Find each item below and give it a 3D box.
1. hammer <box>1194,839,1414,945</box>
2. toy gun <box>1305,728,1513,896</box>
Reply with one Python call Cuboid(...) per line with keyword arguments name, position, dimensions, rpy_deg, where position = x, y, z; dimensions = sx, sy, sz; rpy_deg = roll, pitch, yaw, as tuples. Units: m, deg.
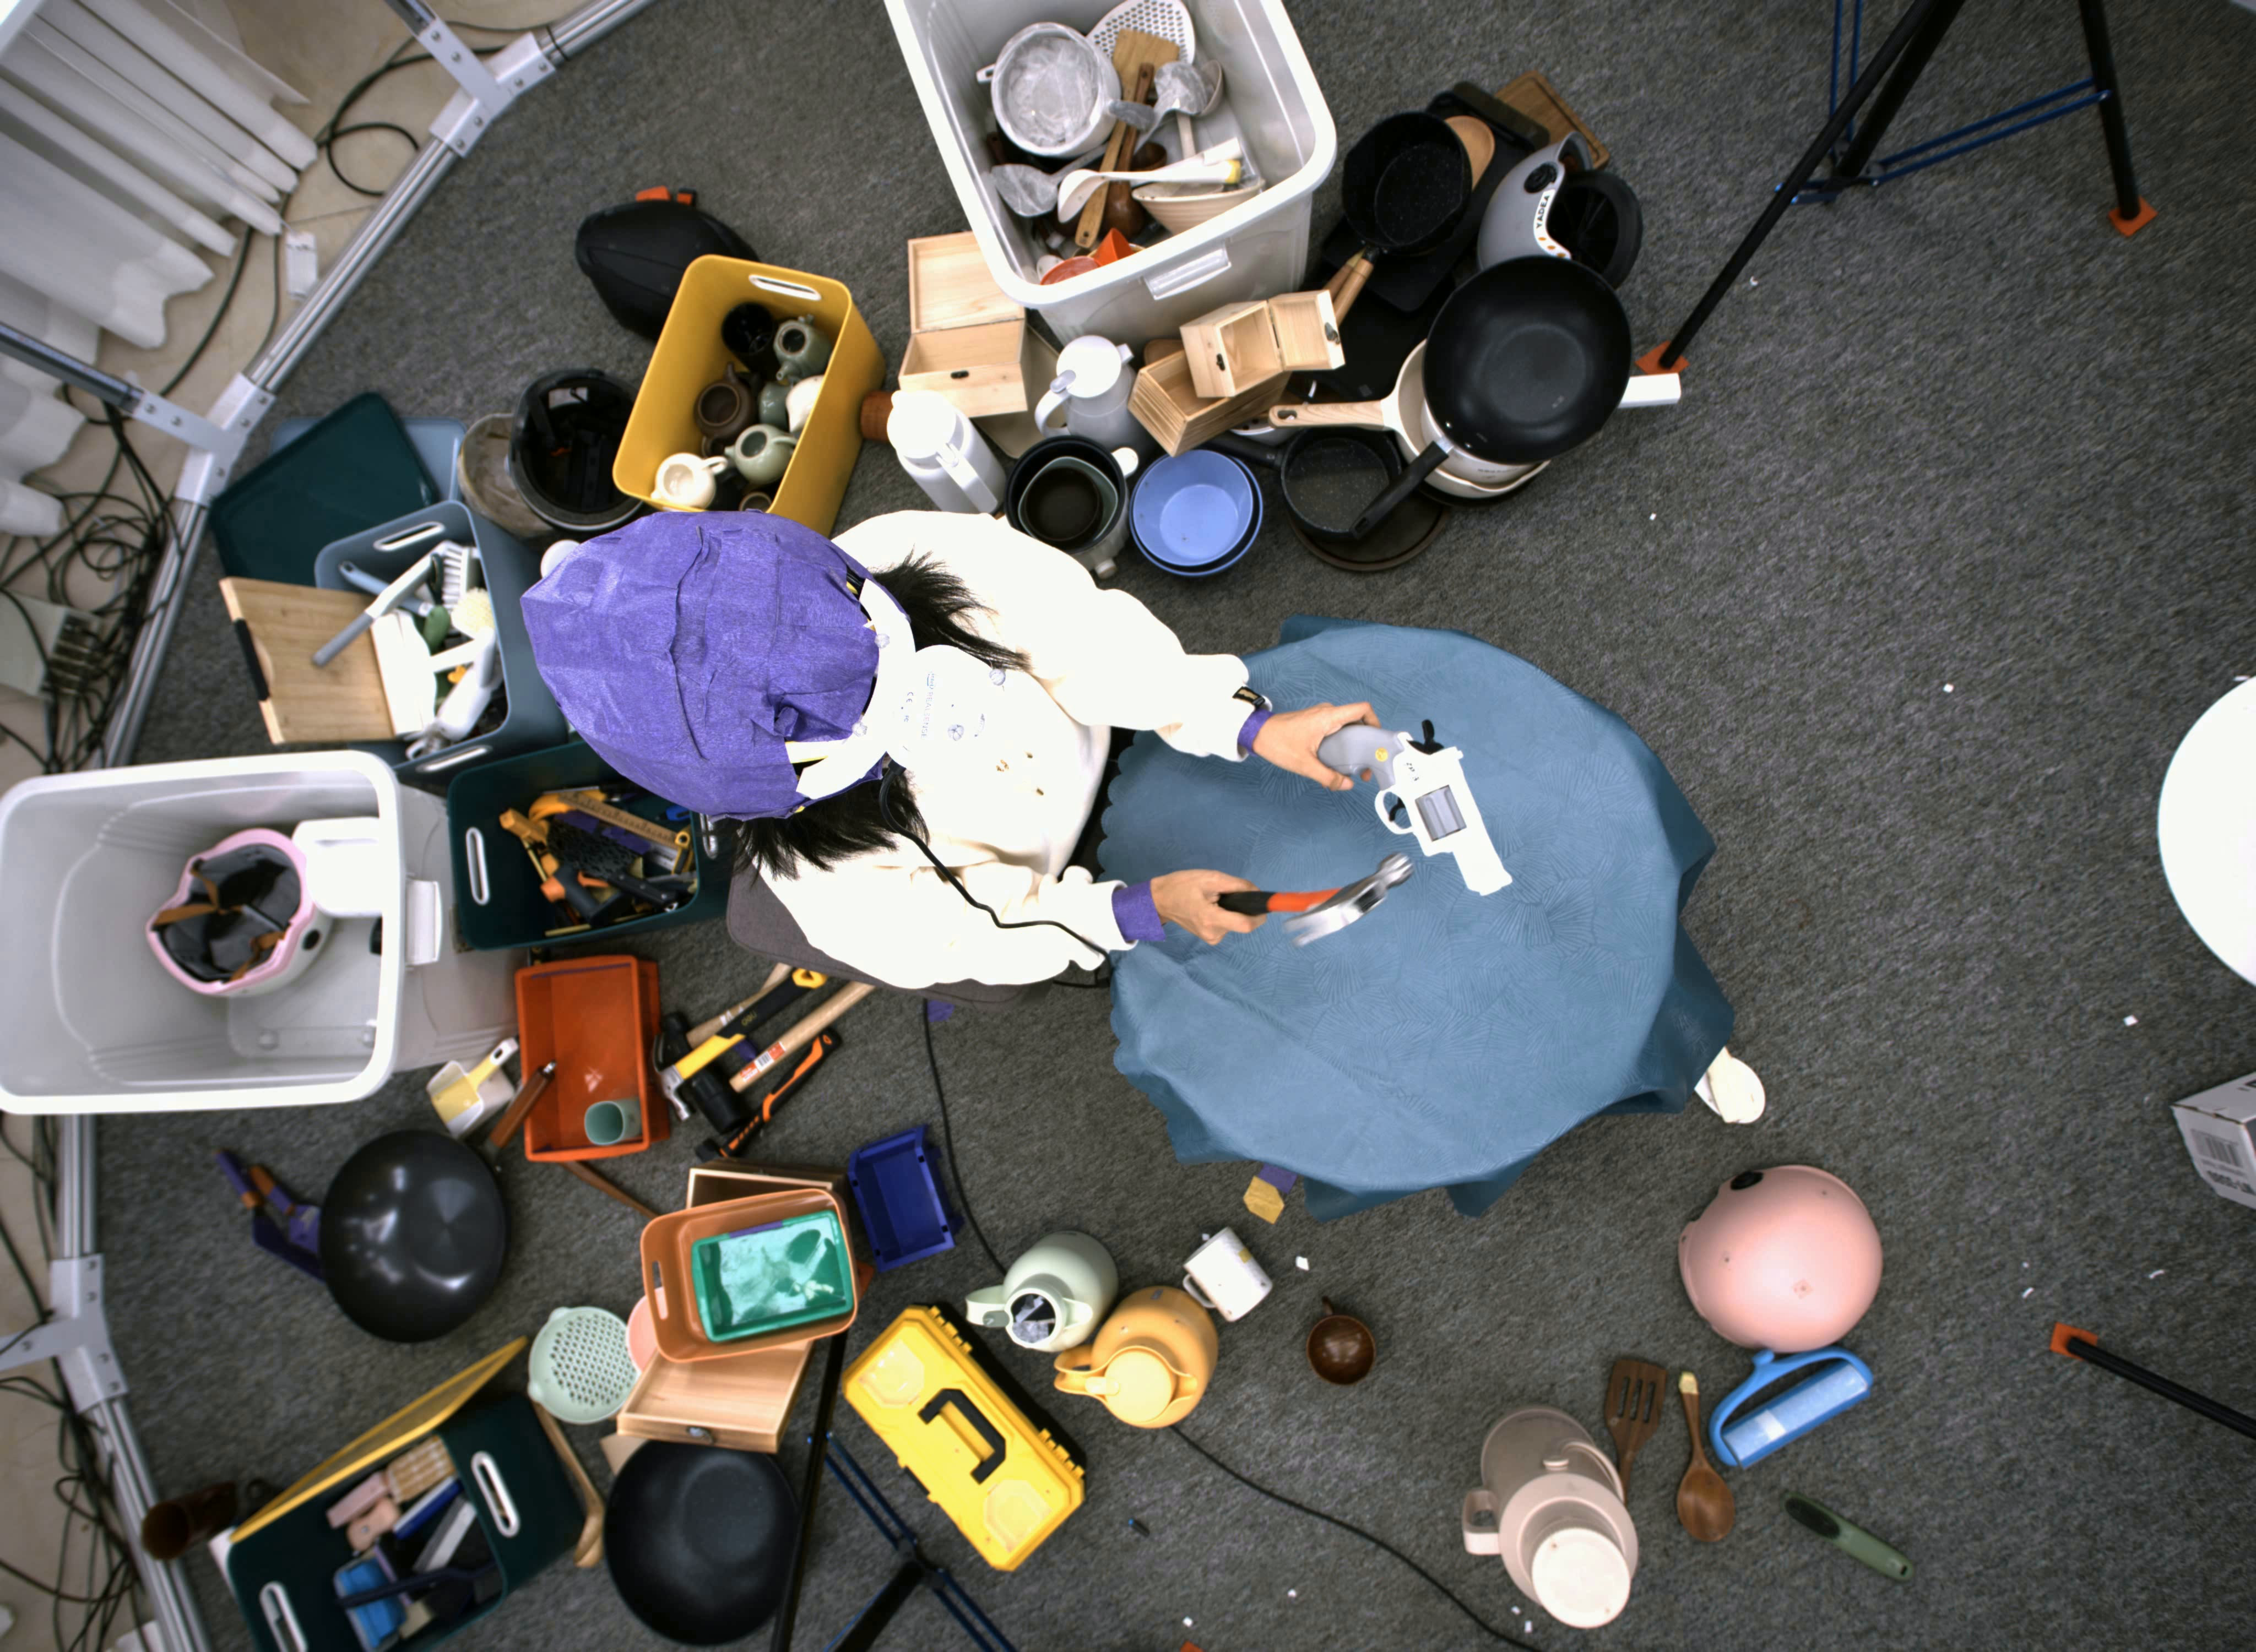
Cuboid(name="hammer", position=(0.140, 0.066, 1.265), dimensions=(0.109, 0.280, 0.026), rpy_deg=(-45, 105, -24))
Cuboid(name="toy gun", position=(0.260, -0.017, 1.290), dimensions=(0.144, 0.038, 0.208), rpy_deg=(-28, 83, 40))
